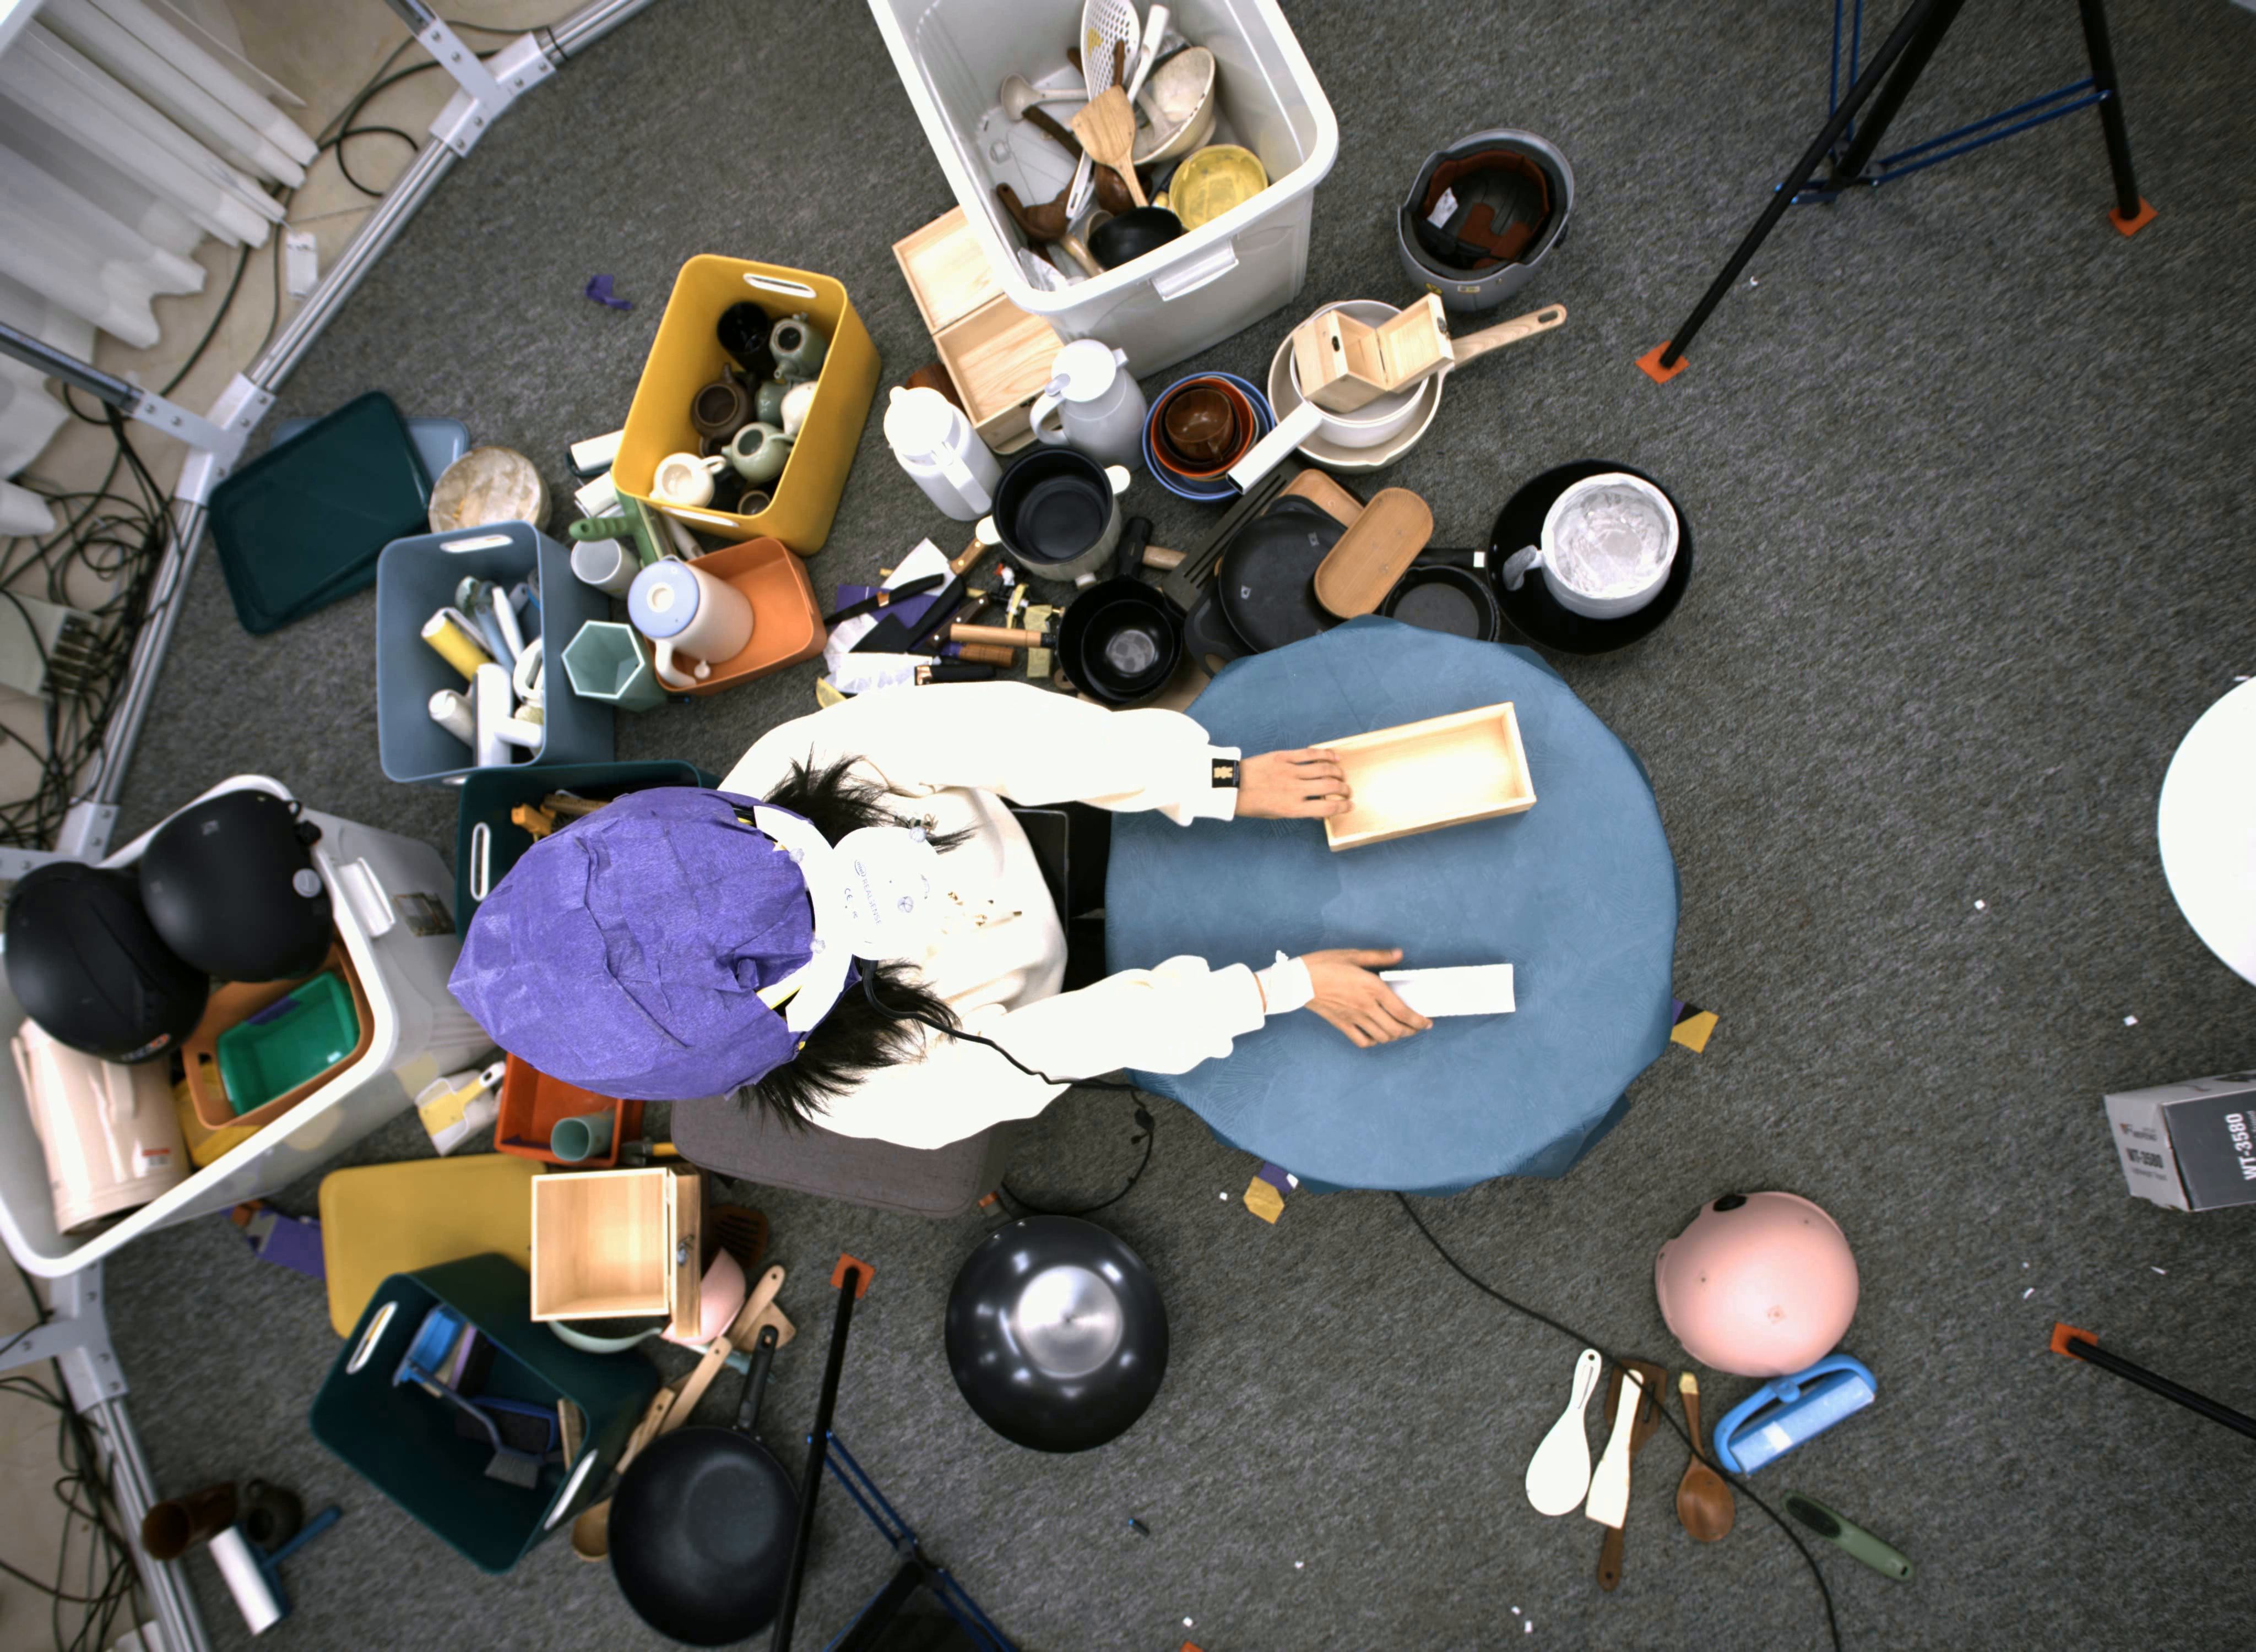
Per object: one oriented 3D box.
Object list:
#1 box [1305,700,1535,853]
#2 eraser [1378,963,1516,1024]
[{"bbox_3d":[0.299,-0.050,1.421,0.212,0.080,0.107,-13,83,9],"label":"box"},{"bbox_3d":[0.327,0.170,1.420,0.135,0.046,0.049,-7,87,9],"label":"eraser"}]
